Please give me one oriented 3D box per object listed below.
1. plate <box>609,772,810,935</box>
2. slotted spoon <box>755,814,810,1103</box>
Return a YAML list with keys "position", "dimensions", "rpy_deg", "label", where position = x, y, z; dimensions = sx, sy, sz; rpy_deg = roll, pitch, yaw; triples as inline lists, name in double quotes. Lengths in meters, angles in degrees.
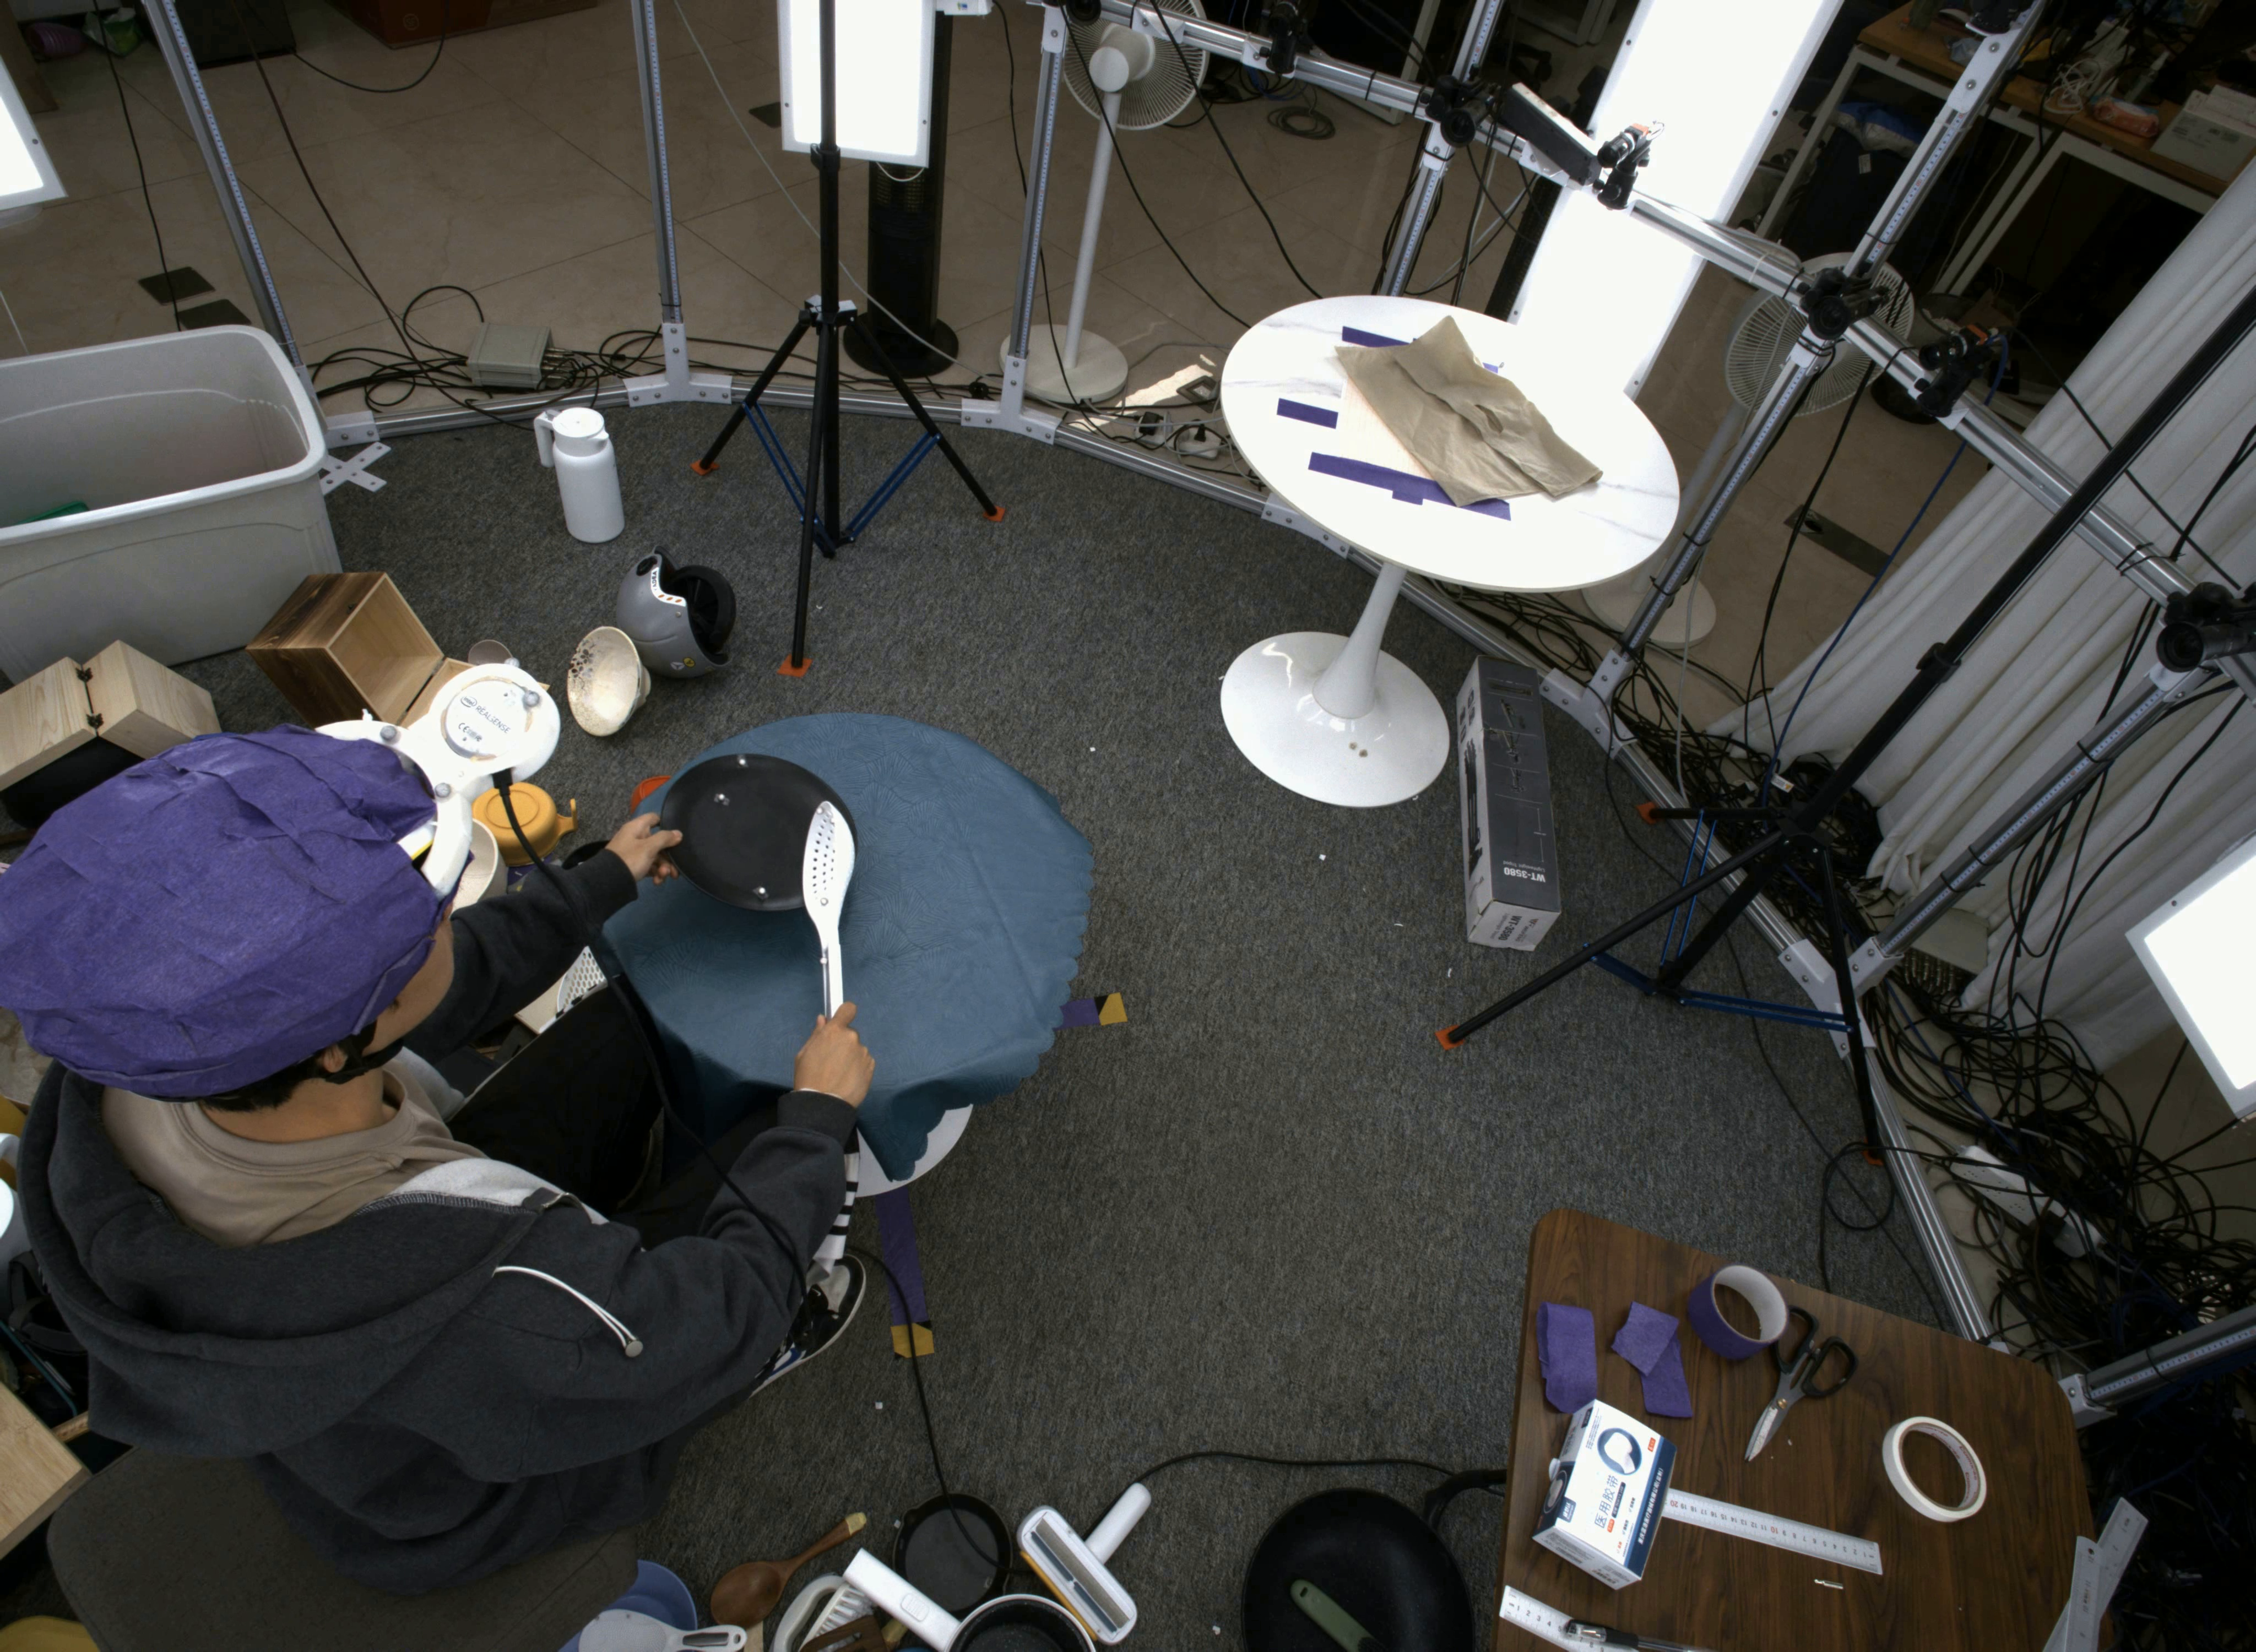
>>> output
- position: [-0.512, 0.033, 1.578]
  dimensions: [0.247, 0.023, 0.240]
  rpy_deg: [18, 47, -18]
  label: "plate"
- position: [-0.388, 0.142, 1.460]
  dimensions: [0.046, 0.137, 0.342]
  rpy_deg: [7, 54, -26]
  label: "slotted spoon"
